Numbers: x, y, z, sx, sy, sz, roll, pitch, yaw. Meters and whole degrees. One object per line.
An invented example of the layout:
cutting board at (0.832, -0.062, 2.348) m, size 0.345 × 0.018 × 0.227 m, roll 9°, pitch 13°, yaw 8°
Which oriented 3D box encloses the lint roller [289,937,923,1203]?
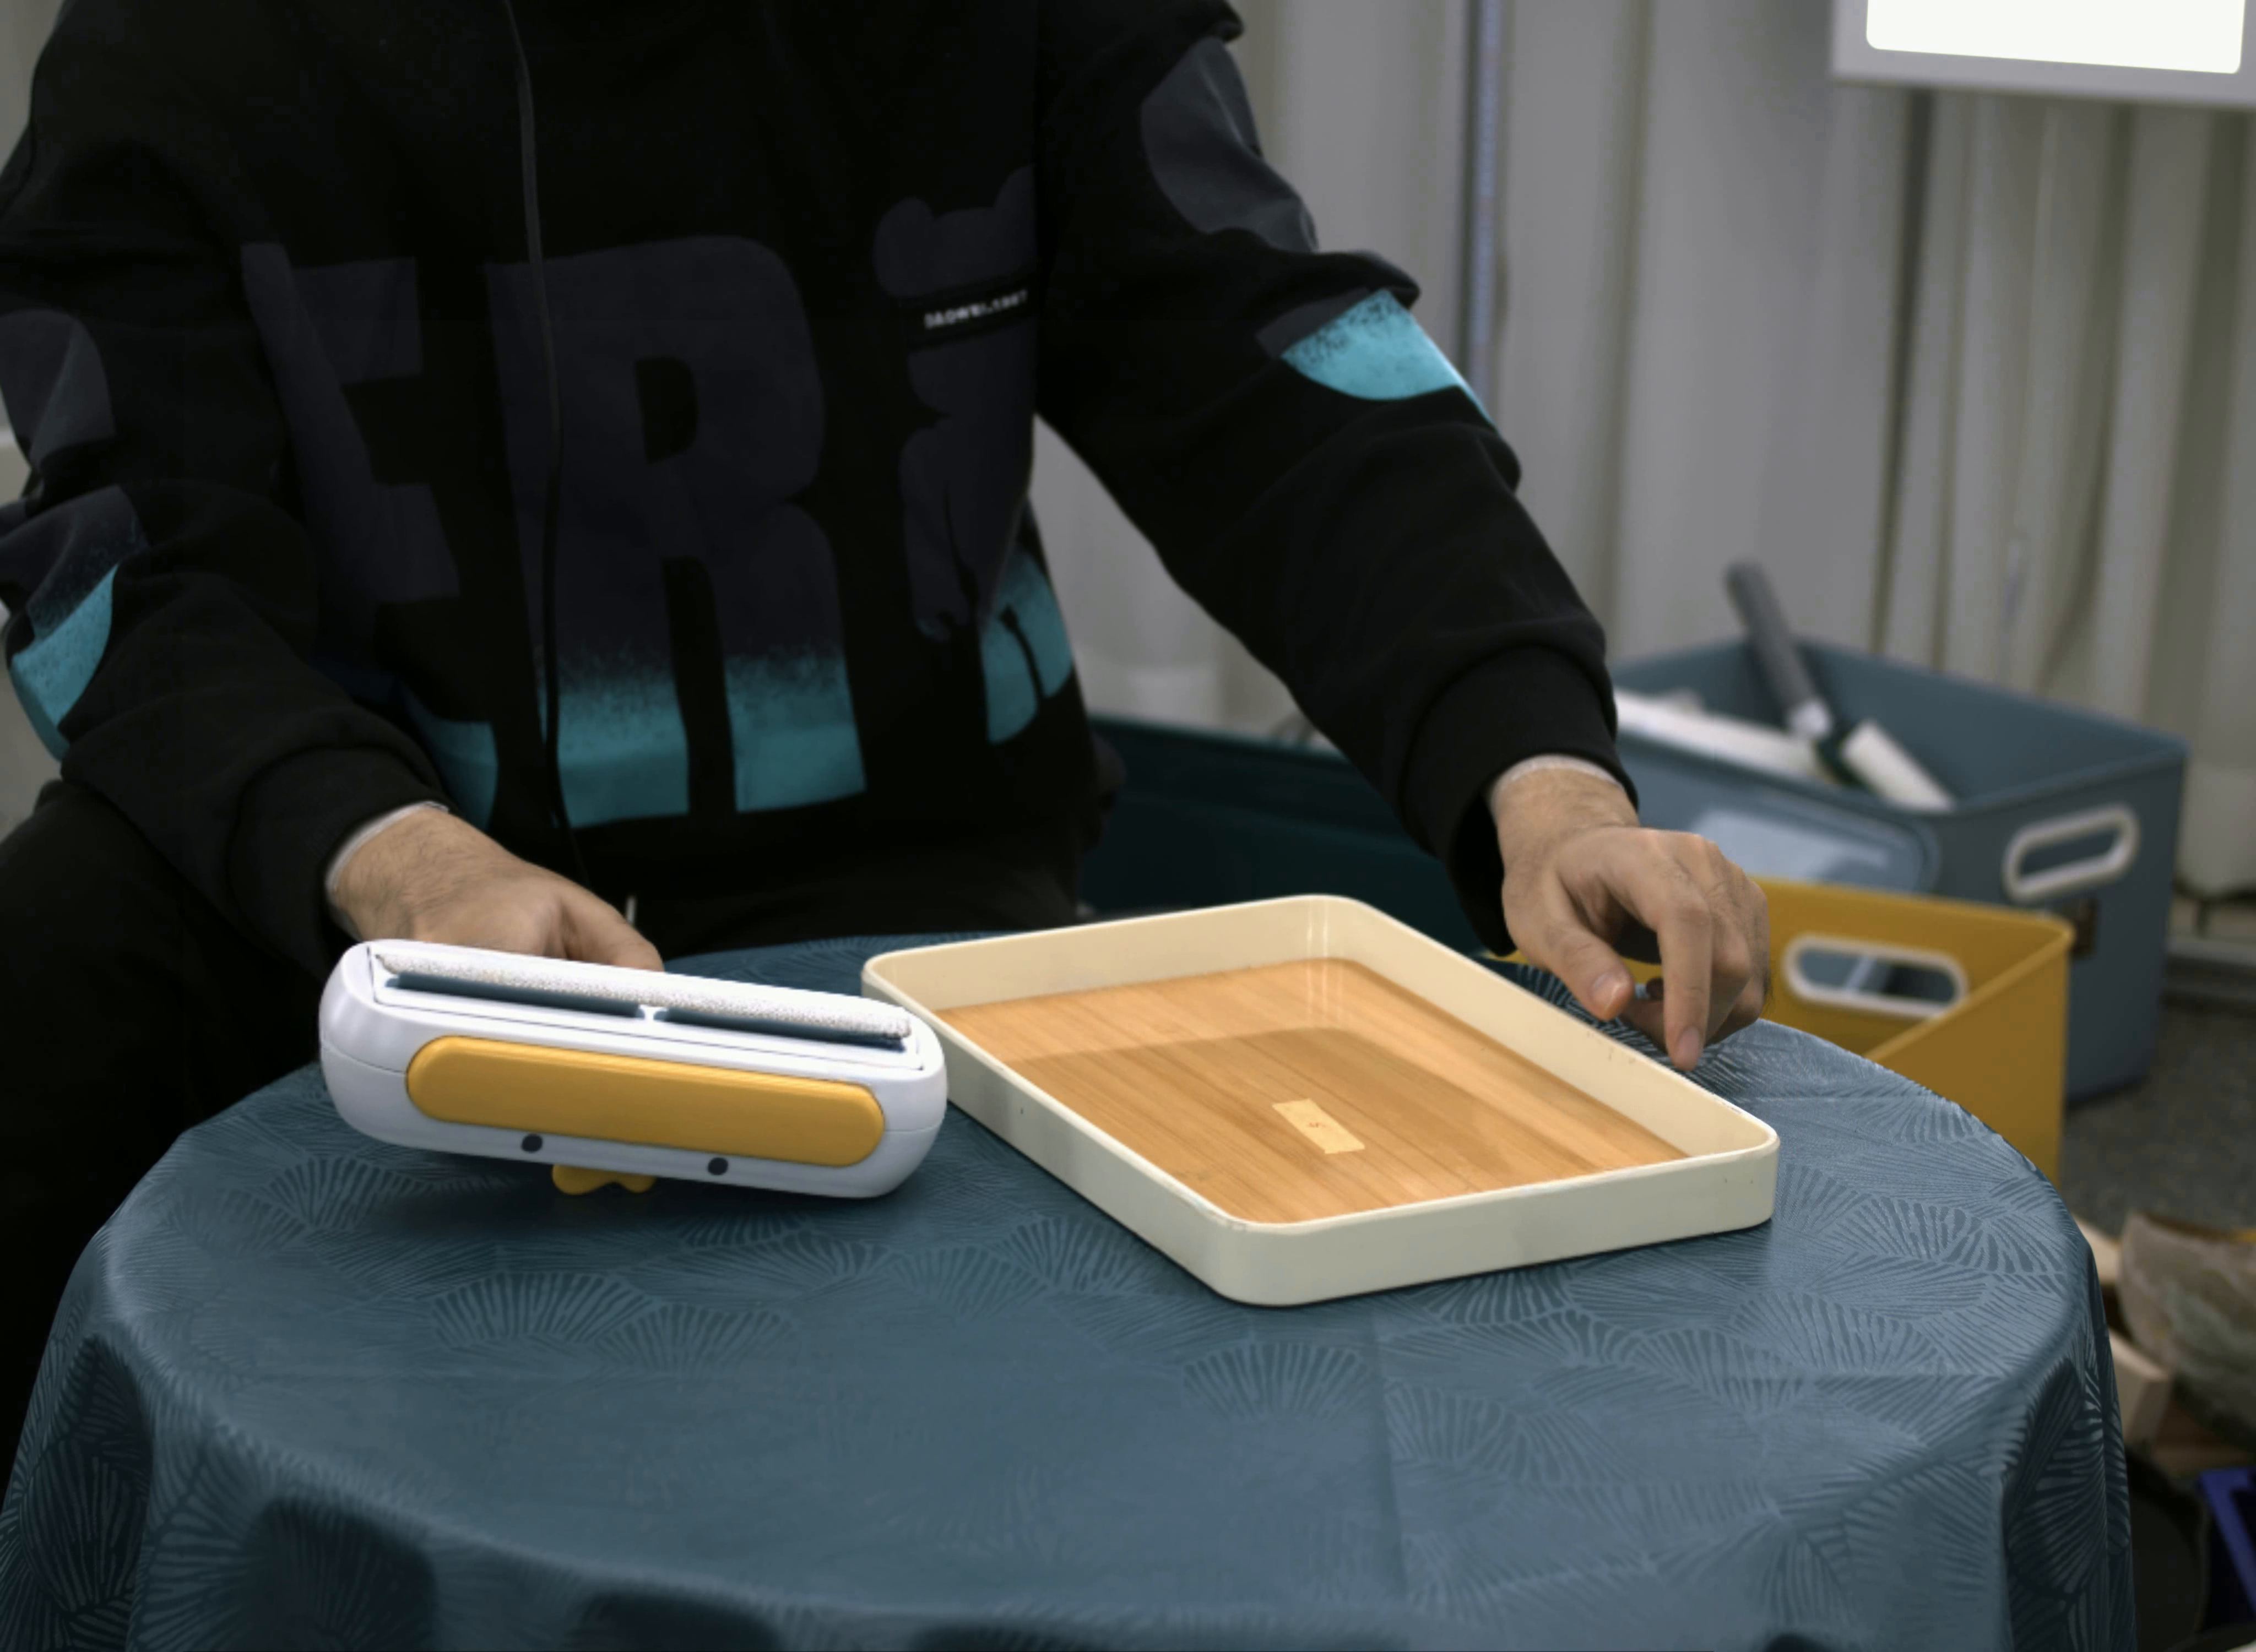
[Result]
lint roller at (-0.167, 0.067, 1.654) m, size 0.193 × 0.074 × 0.191 m, roll 4°, pitch 13°, yaw -11°

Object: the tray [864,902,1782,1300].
tray at (0.055, 0.083, 1.678) m, size 0.192 × 0.027 × 0.296 m, roll -6°, pitch 17°, yaw -25°
